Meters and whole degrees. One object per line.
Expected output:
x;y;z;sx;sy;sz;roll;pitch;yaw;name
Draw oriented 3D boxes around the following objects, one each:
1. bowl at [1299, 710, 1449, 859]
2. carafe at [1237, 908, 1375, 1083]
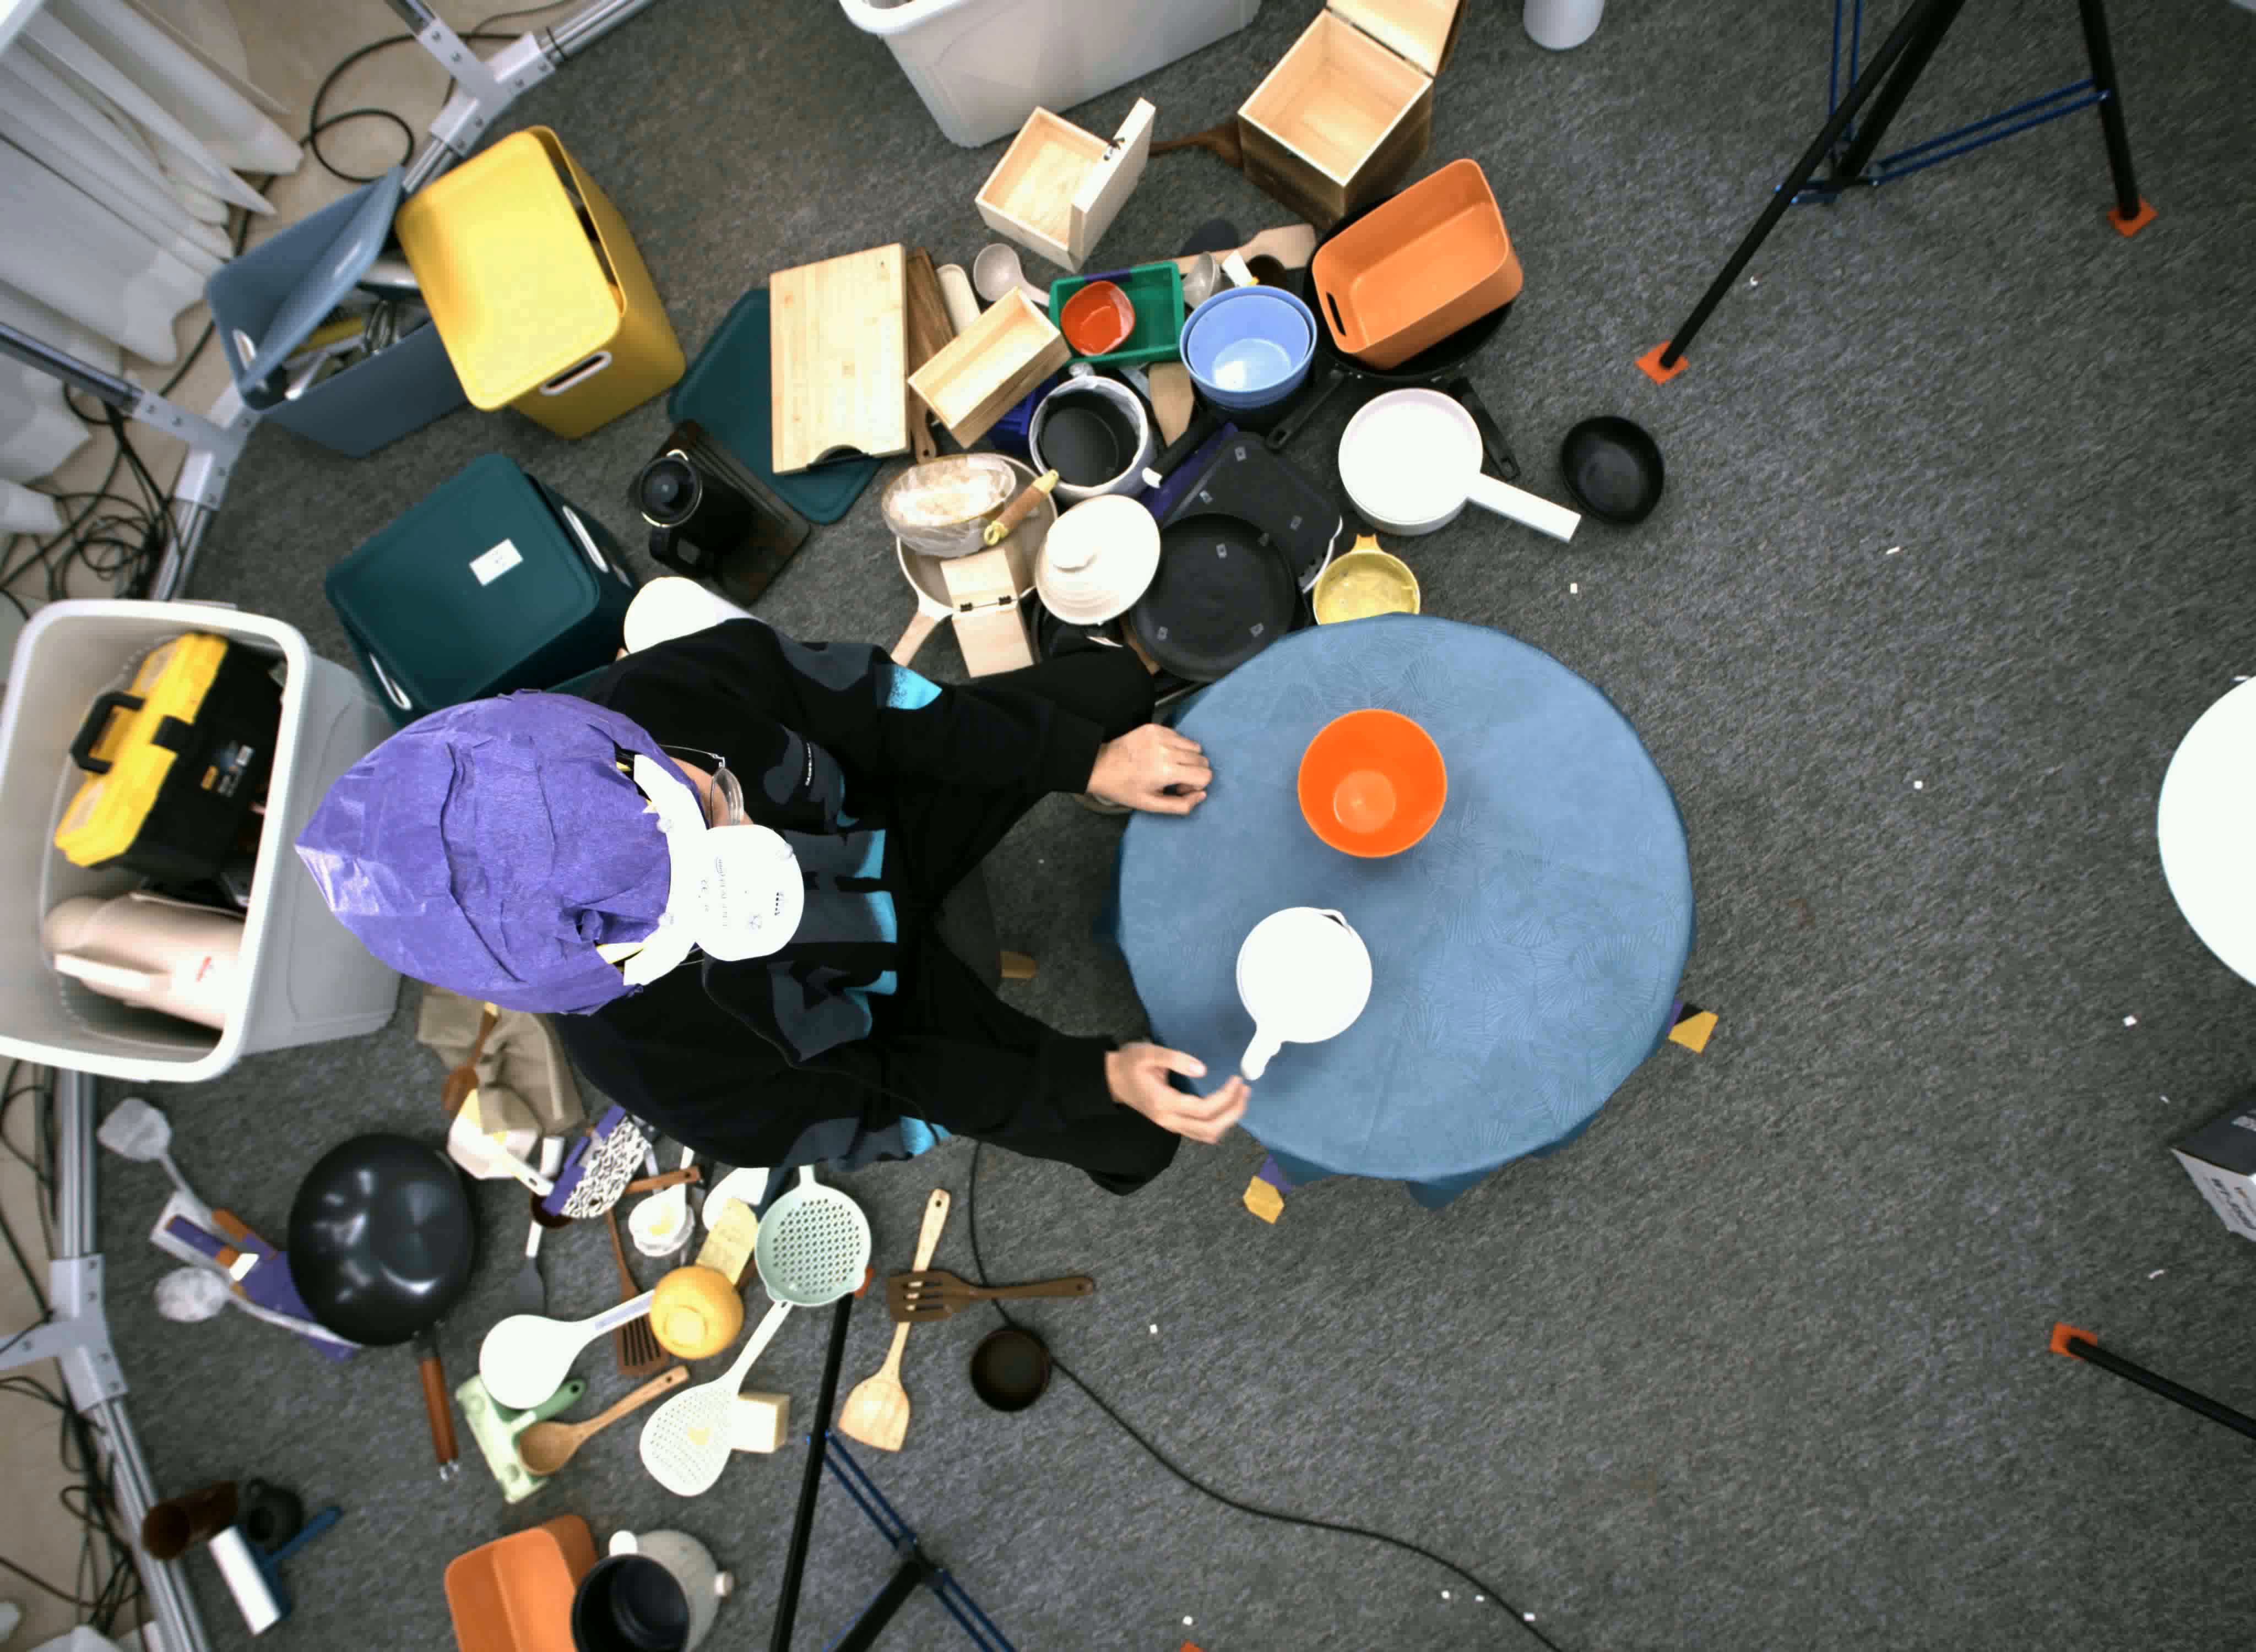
0.251;-0.038;1.414;0.148;0.105;0.147;-1;86;10;bowl
0.168;0.170;1.383;0.132;0.182;0.191;28;93;12;carafe
